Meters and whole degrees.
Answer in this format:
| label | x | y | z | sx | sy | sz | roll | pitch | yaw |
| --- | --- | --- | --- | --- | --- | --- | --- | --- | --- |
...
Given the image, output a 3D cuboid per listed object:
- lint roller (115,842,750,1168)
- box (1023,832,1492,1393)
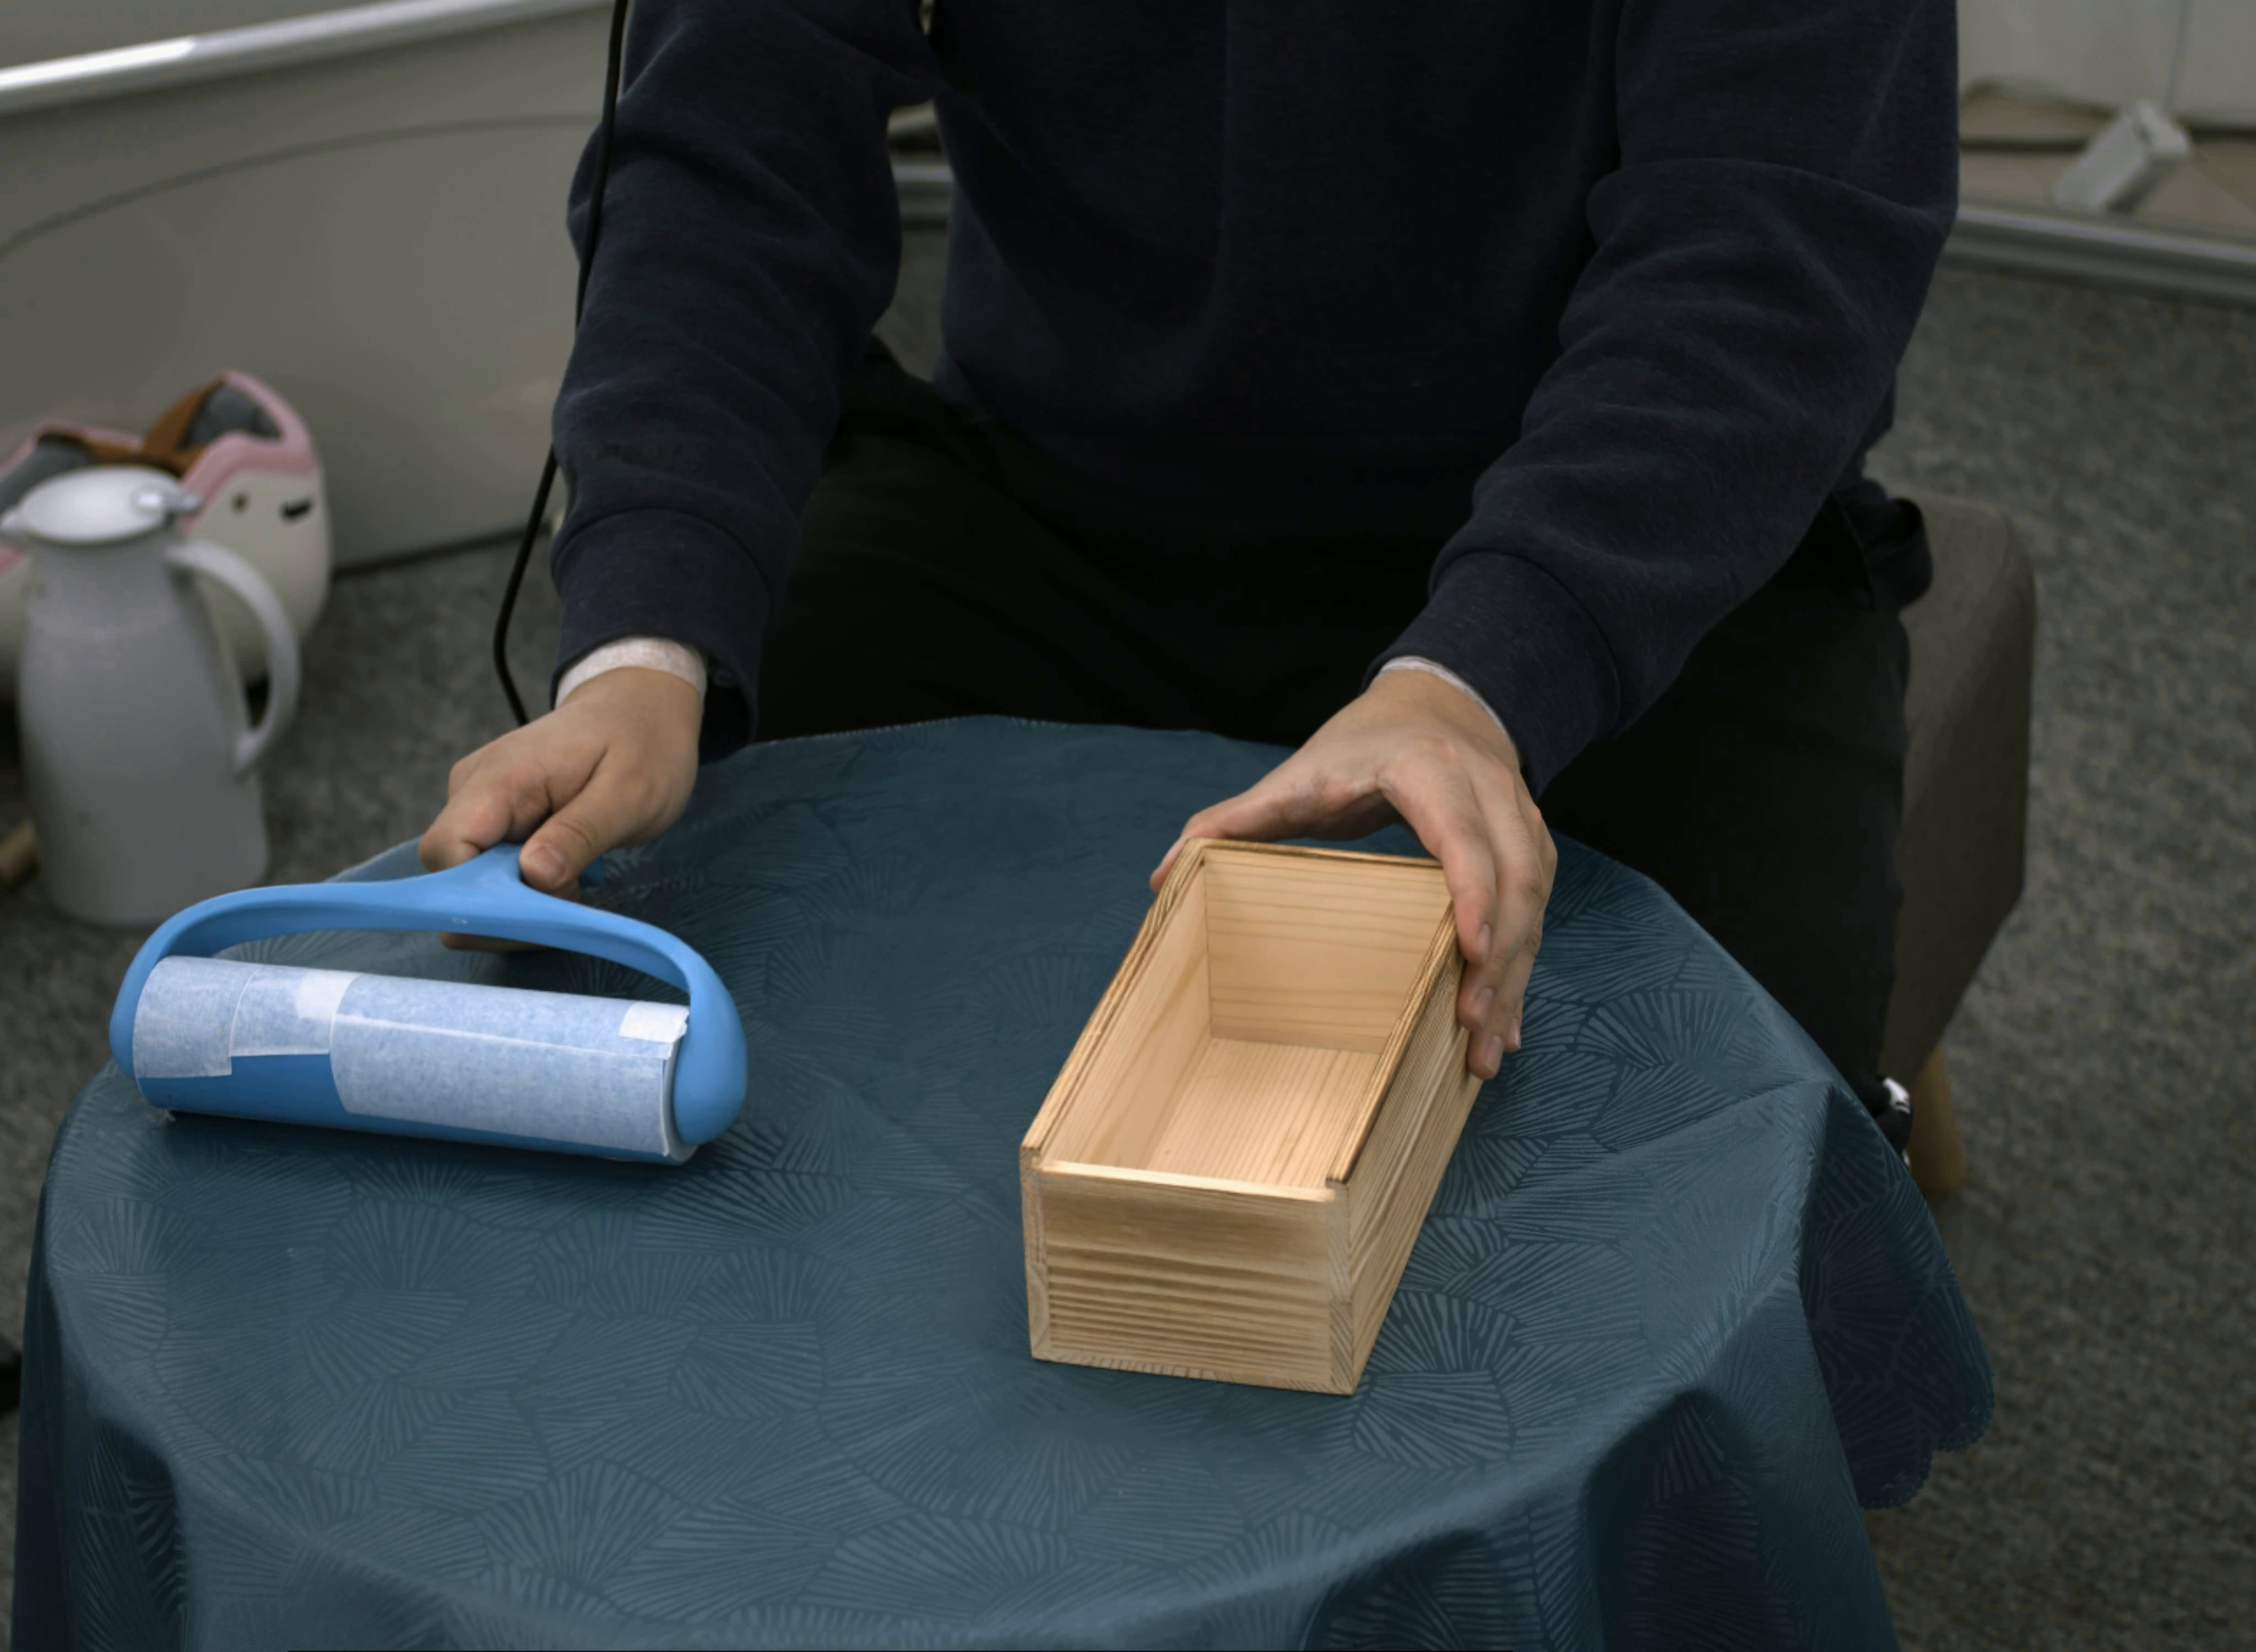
| label | x | y | z | sx | sy | sz | roll | pitch | yaw |
| --- | --- | --- | --- | --- | --- | --- | --- | --- | --- |
| lint roller | -0.224 | 0.045 | 1.955 | 0.227 | 0.067 | 0.184 | 2 | 36 | 14 |
| box | 0.046 | 0.090 | 1.836 | 0.107 | 0.079 | 0.215 | 5 | 28 | 14 |
